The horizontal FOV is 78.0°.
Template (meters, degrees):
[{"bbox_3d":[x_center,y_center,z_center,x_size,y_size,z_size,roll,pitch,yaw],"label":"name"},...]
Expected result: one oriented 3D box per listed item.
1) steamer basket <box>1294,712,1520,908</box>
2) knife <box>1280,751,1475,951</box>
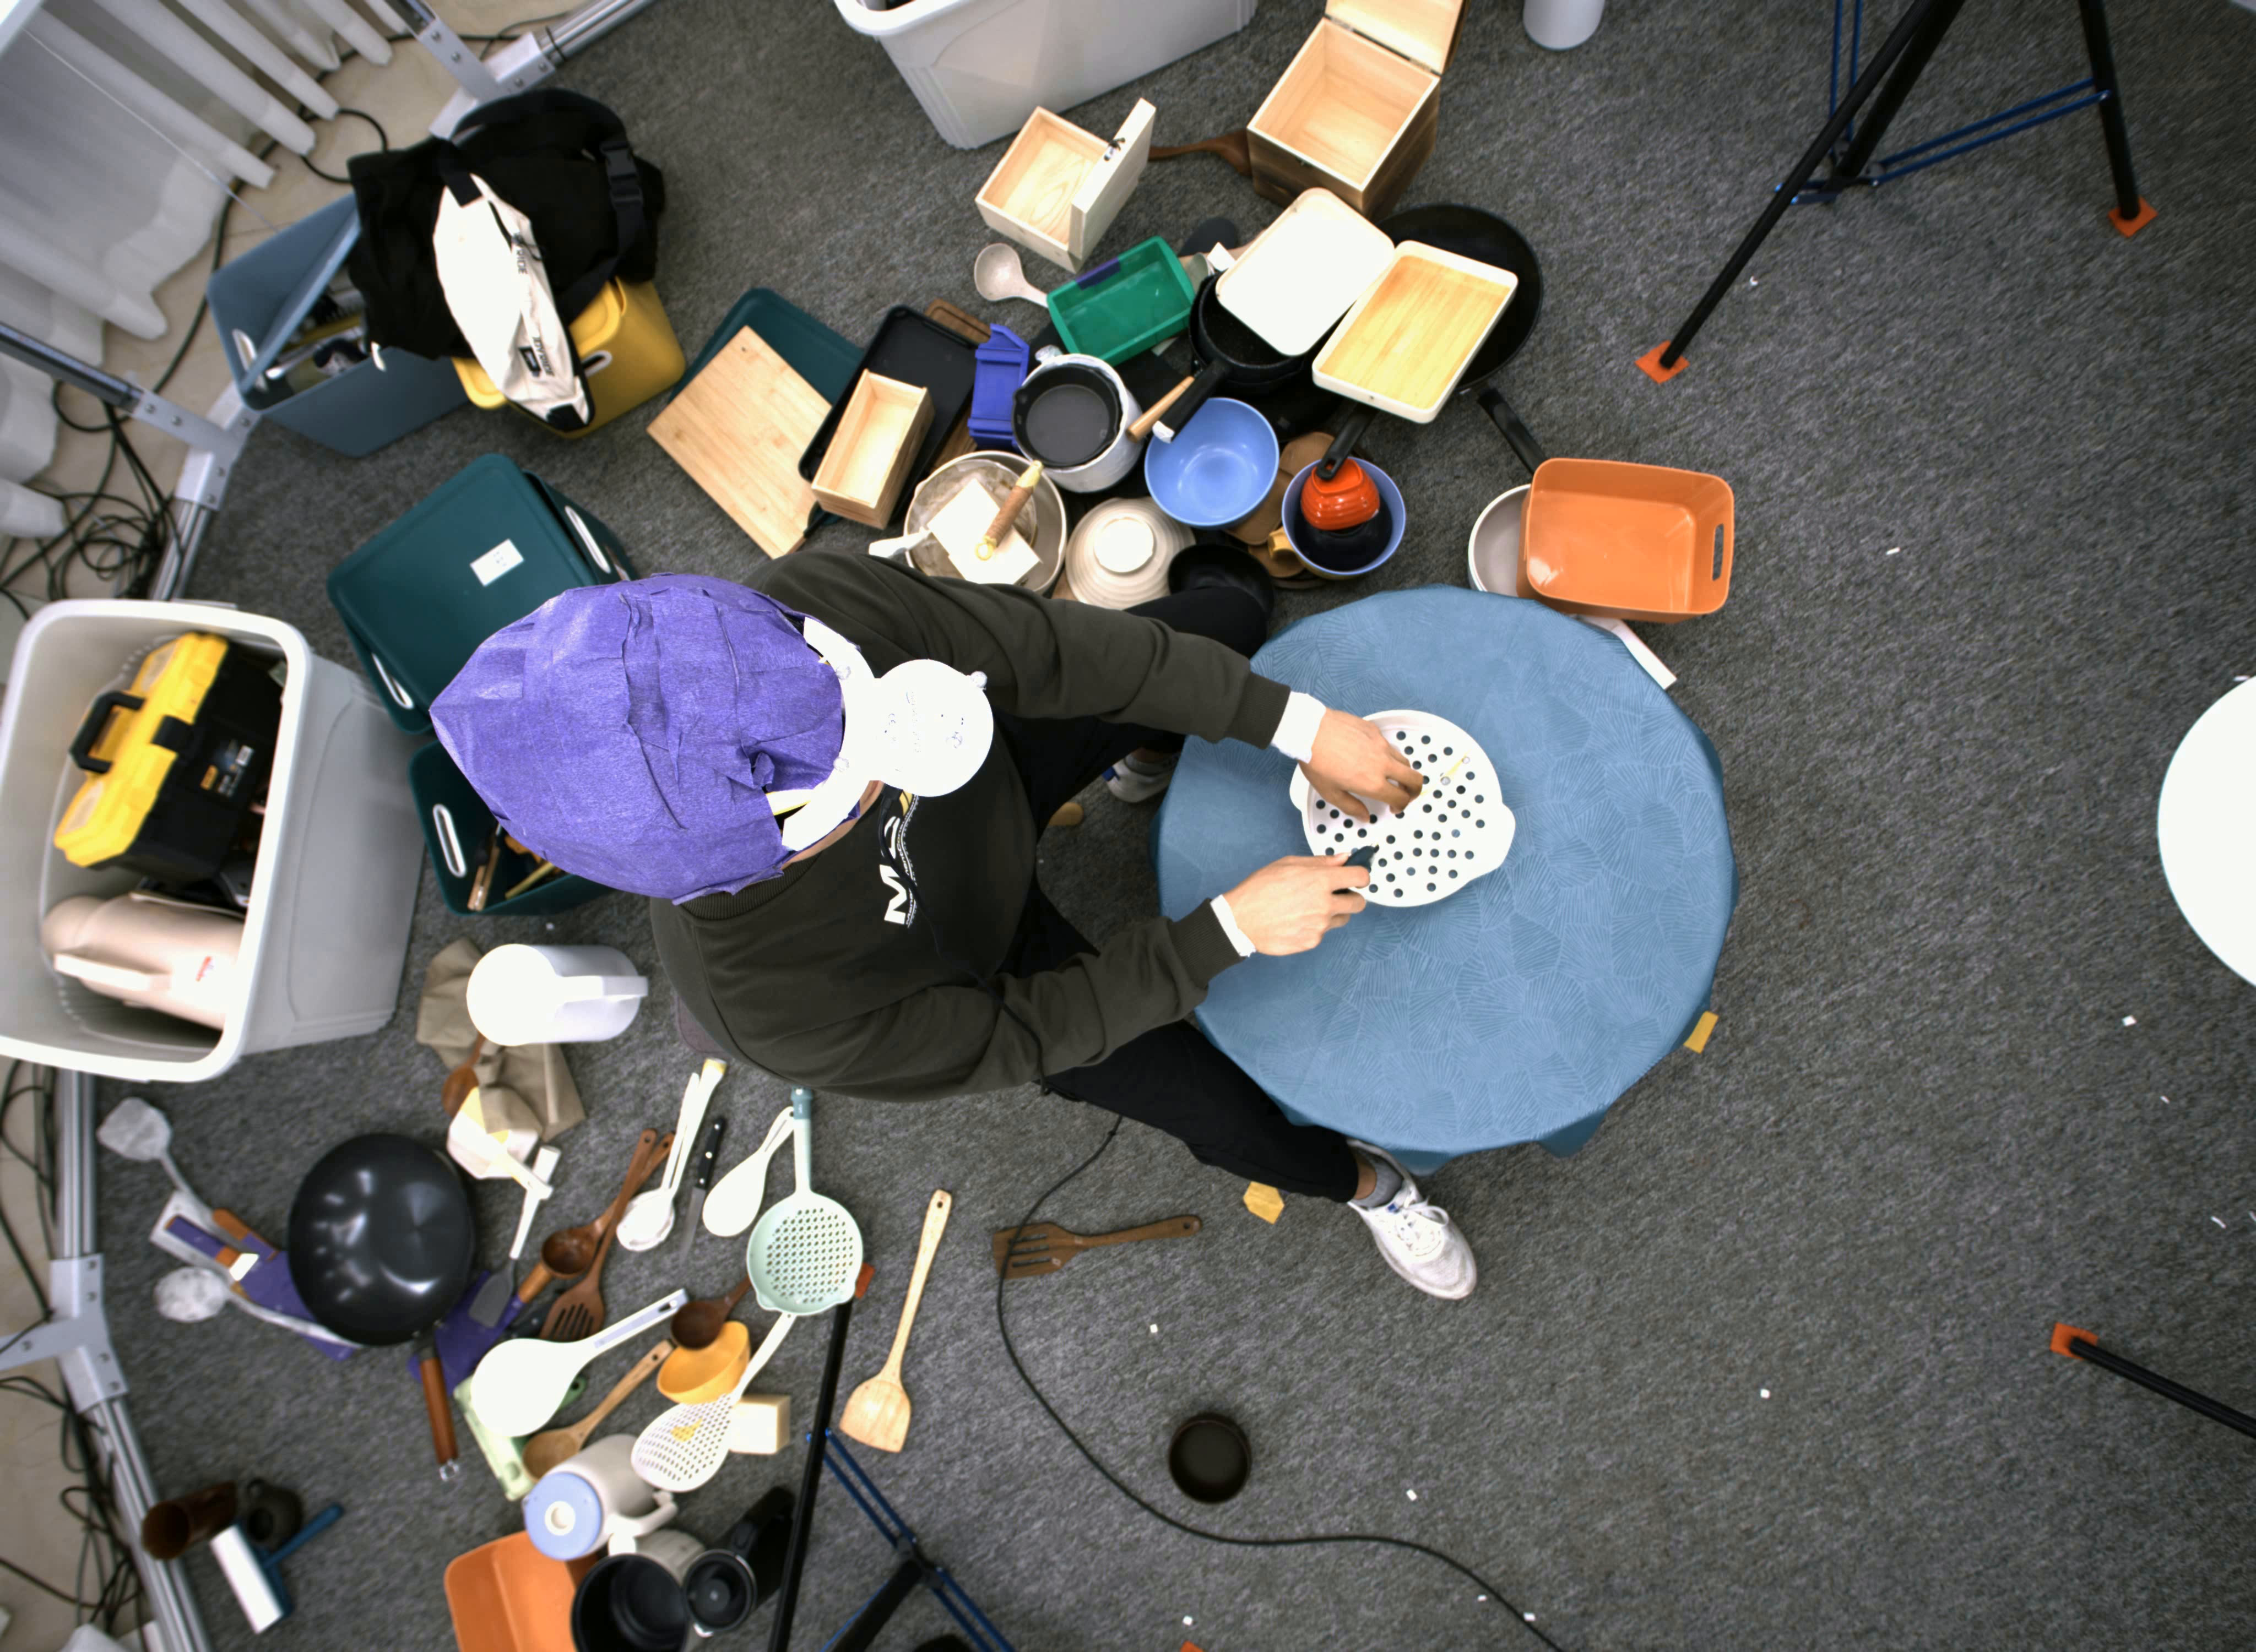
[{"bbox_3d":[0.287,-0.016,1.428,0.230,0.069,0.201,20,90,13],"label":"steamer basket"},{"bbox_3d":[0.249,0.018,1.364,0.287,0.081,0.027,-44,93,-12],"label":"knife"}]
